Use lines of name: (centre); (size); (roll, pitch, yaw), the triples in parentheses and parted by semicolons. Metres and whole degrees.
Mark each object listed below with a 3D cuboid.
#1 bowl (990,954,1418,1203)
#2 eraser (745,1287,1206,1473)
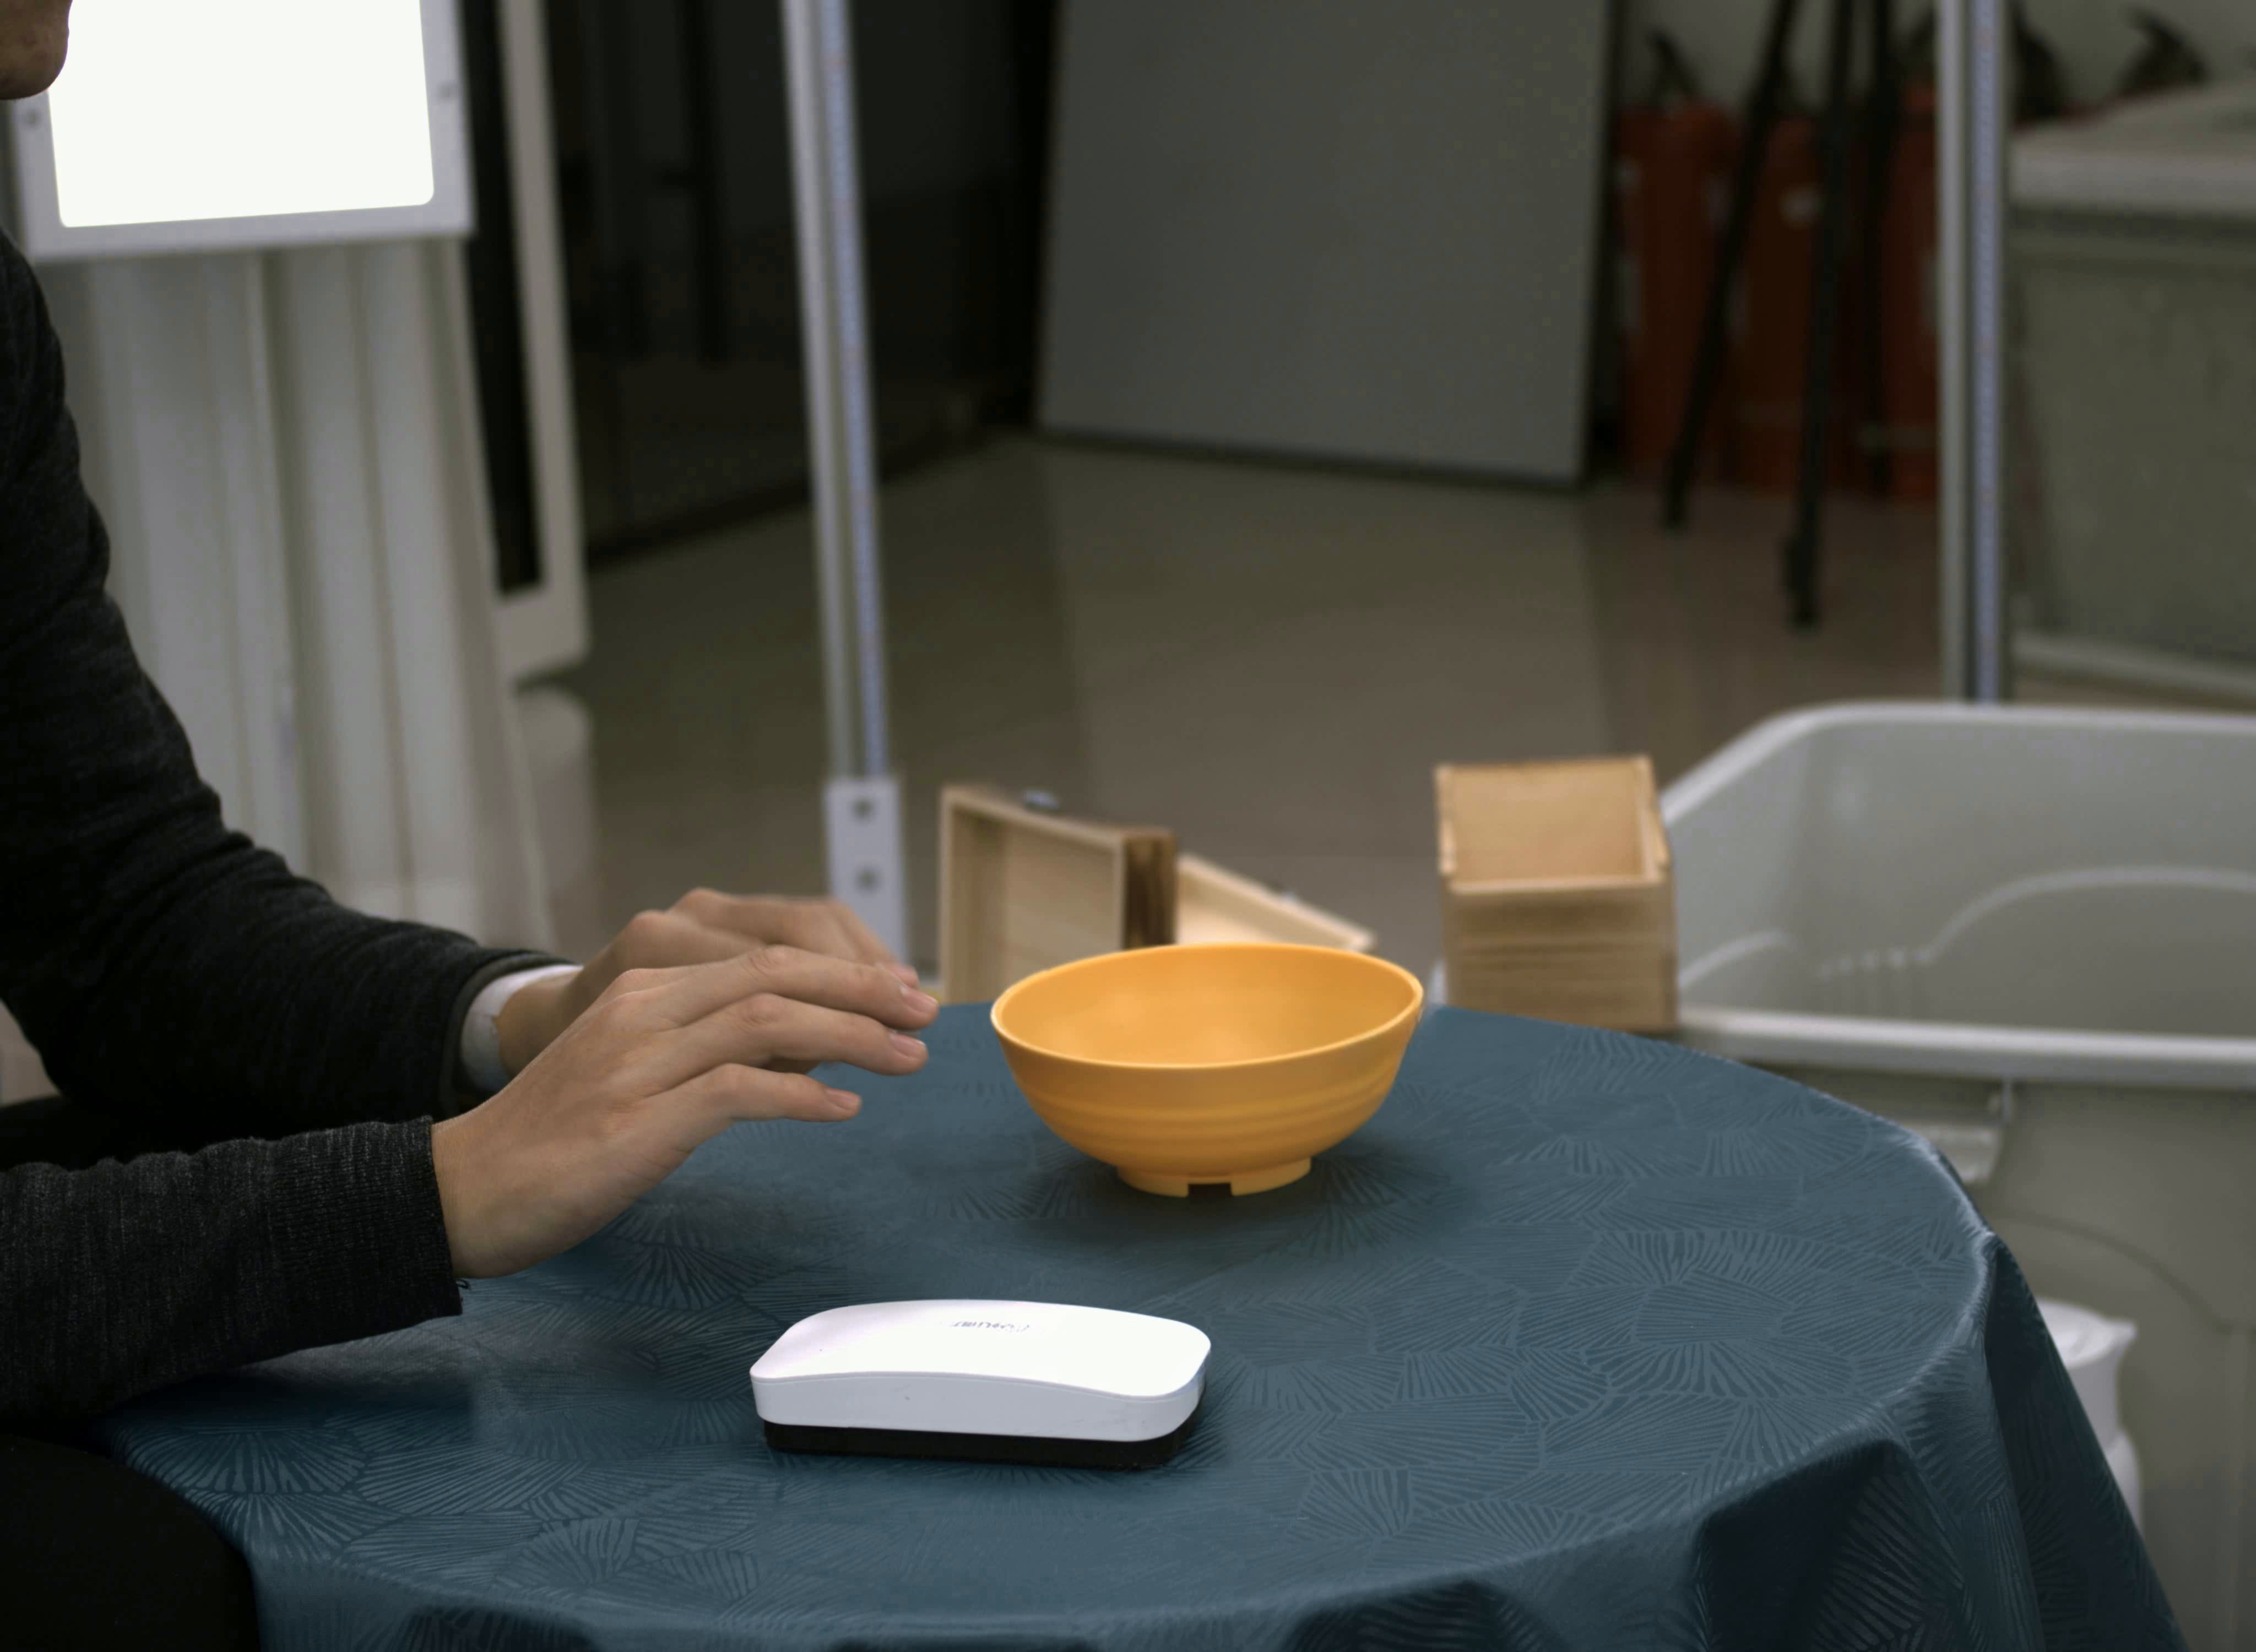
bowl: (0.027, 0.087, 1.780); (0.143, 0.061, 0.145); (-4, 12, 0)
eraser: (-0.043, 0.160, 1.559); (0.131, 0.035, 0.063); (1, 14, 18)
